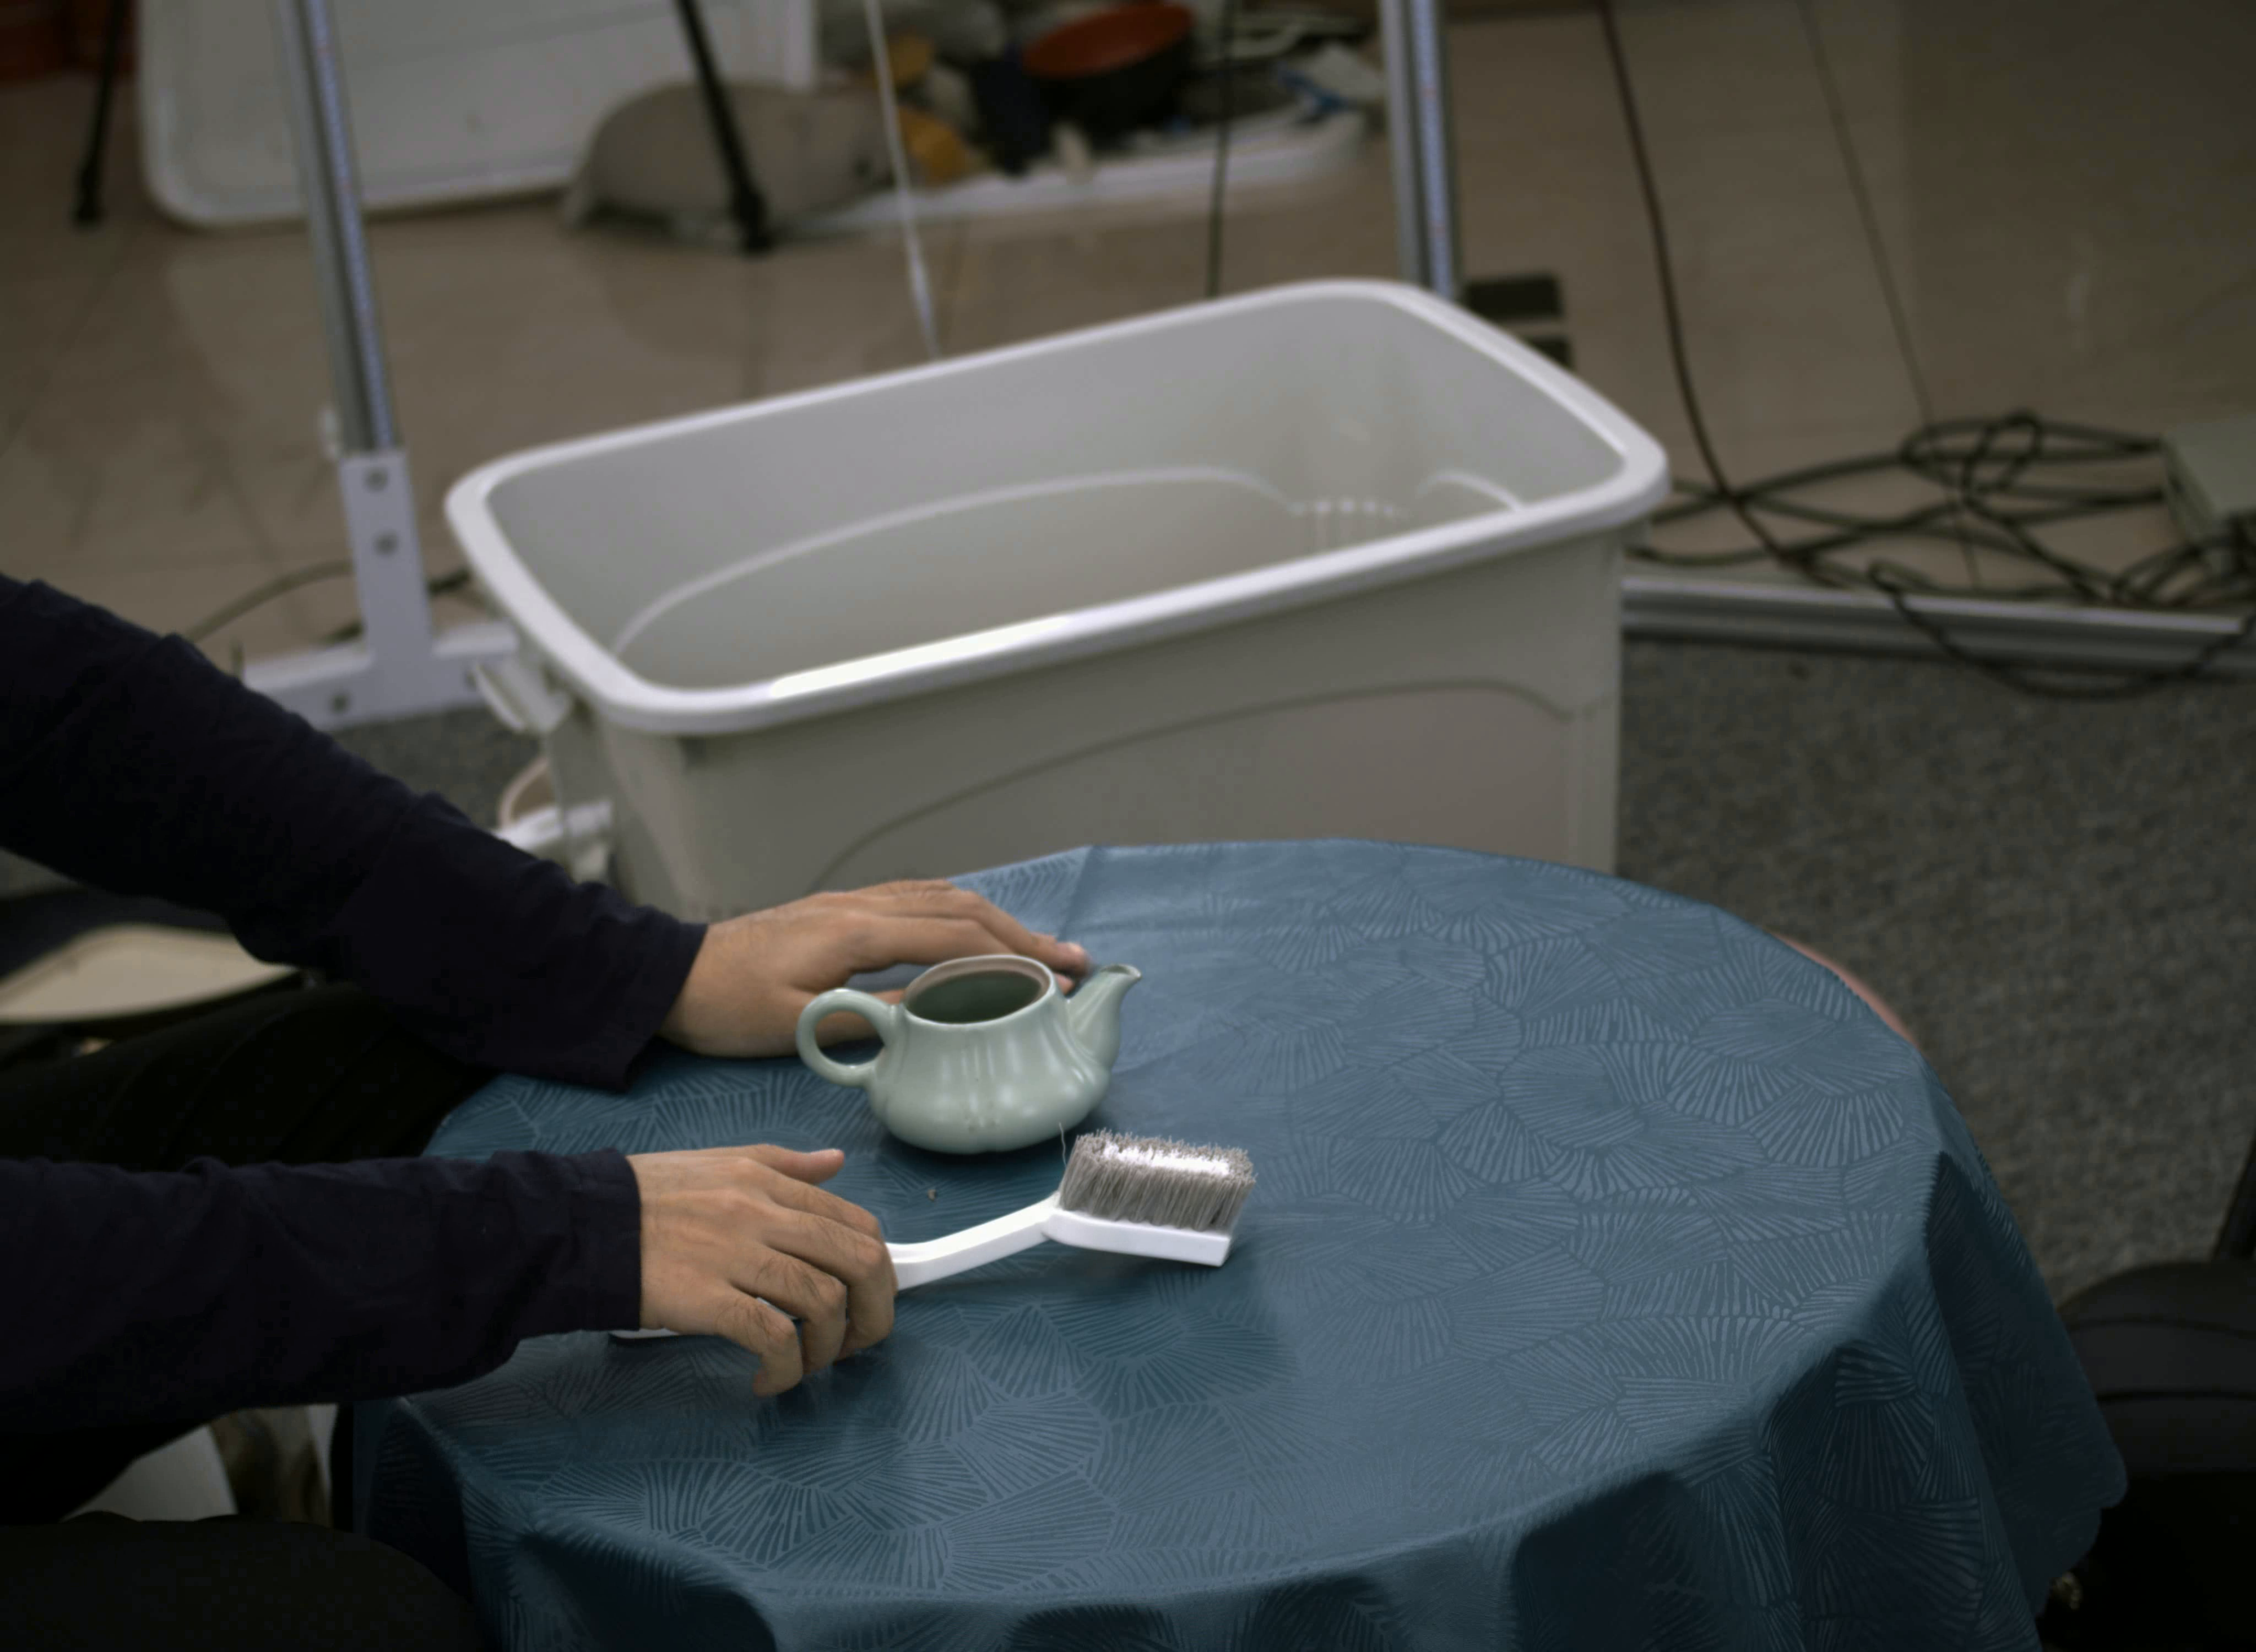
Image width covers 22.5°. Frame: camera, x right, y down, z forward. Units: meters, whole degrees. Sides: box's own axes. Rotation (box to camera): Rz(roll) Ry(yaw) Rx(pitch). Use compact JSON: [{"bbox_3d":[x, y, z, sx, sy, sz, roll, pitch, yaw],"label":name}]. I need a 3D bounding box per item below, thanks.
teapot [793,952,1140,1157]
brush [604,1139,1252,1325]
[{"bbox_3d":[-0.061,0.087,2.201,0.137,0.062,0.094,-6,28,0],"label":"teapot"},{"bbox_3d":[-0.075,0.149,2.089,0.243,0.051,0.034,-6,30,1],"label":"brush"}]
